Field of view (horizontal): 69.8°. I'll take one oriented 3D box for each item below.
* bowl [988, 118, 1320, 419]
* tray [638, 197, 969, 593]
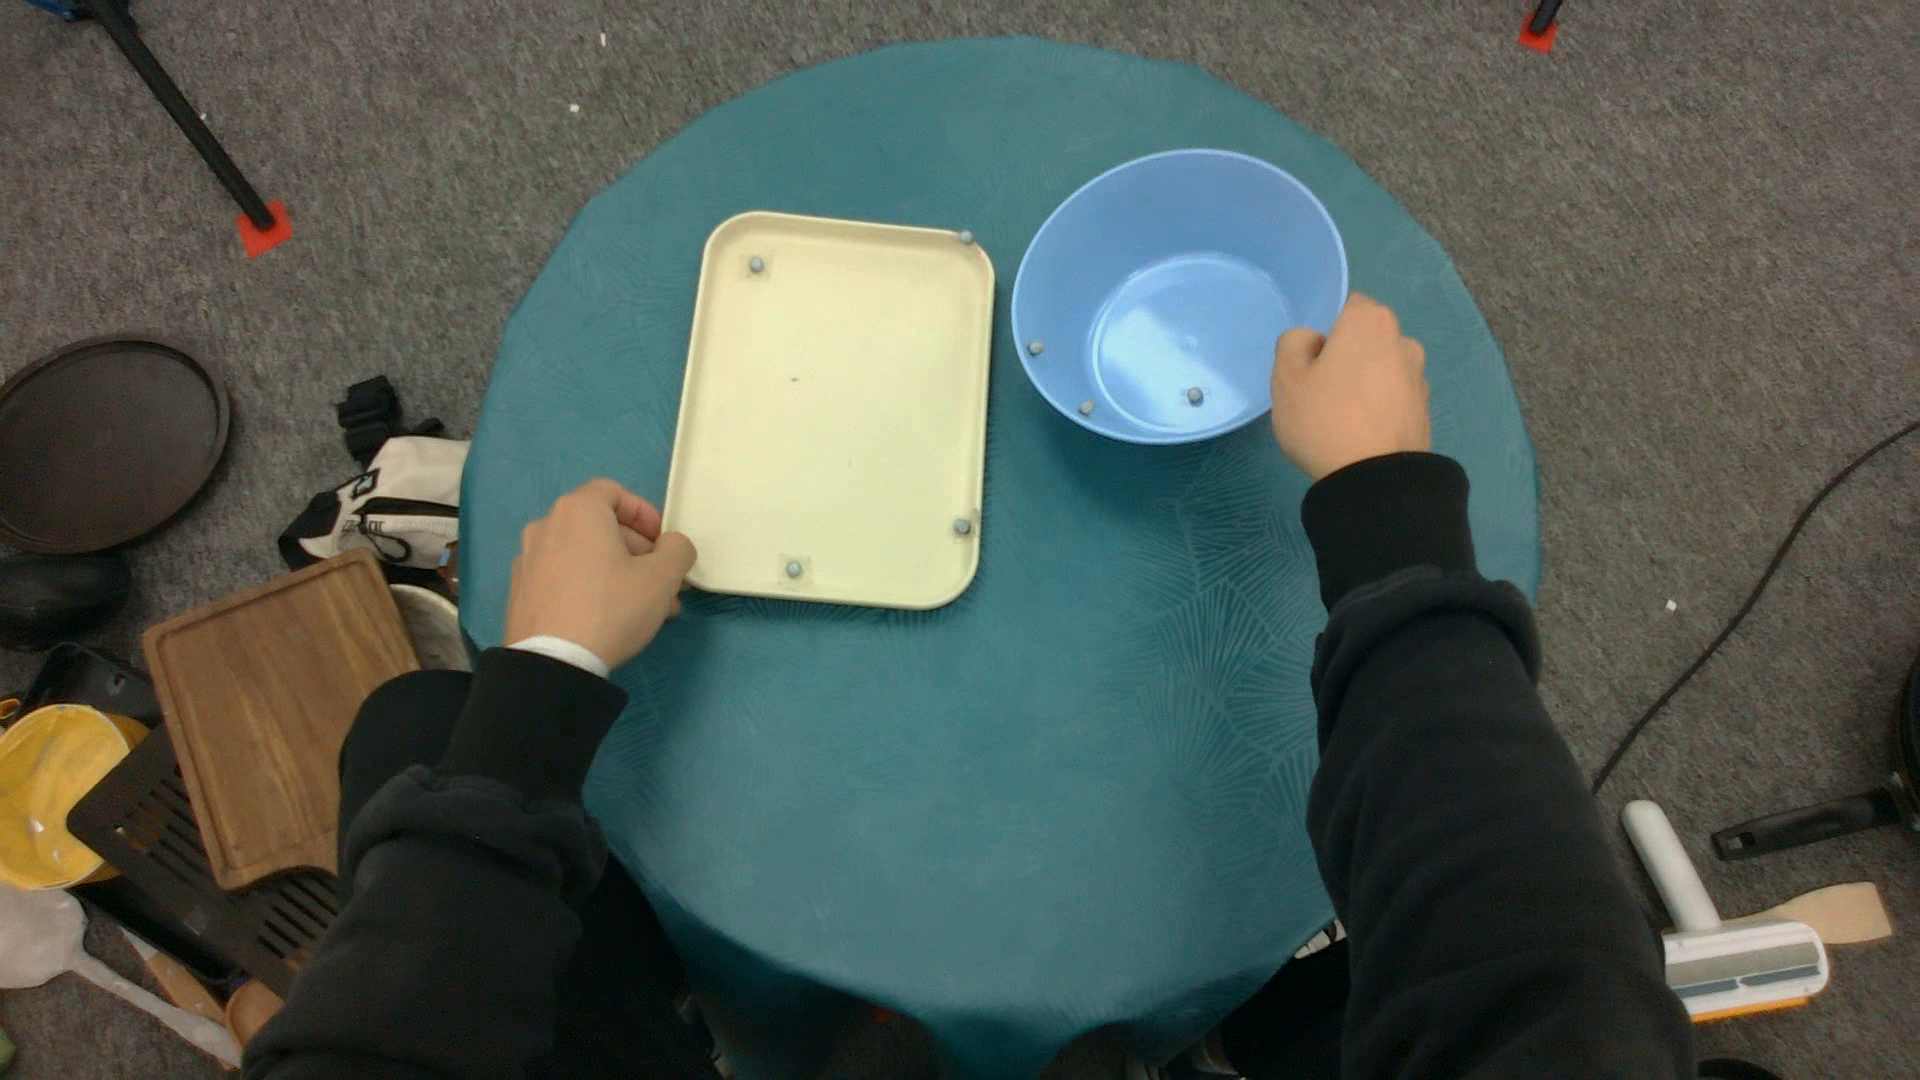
[{"bbox_3d":[0.108,-0.135,0.747,0.176,0.070,0.176,-7,69,18],"label":"bowl"},{"bbox_3d":[-0.083,-0.084,0.769,0.171,0.017,0.240,4,67,-4],"label":"tray"}]
